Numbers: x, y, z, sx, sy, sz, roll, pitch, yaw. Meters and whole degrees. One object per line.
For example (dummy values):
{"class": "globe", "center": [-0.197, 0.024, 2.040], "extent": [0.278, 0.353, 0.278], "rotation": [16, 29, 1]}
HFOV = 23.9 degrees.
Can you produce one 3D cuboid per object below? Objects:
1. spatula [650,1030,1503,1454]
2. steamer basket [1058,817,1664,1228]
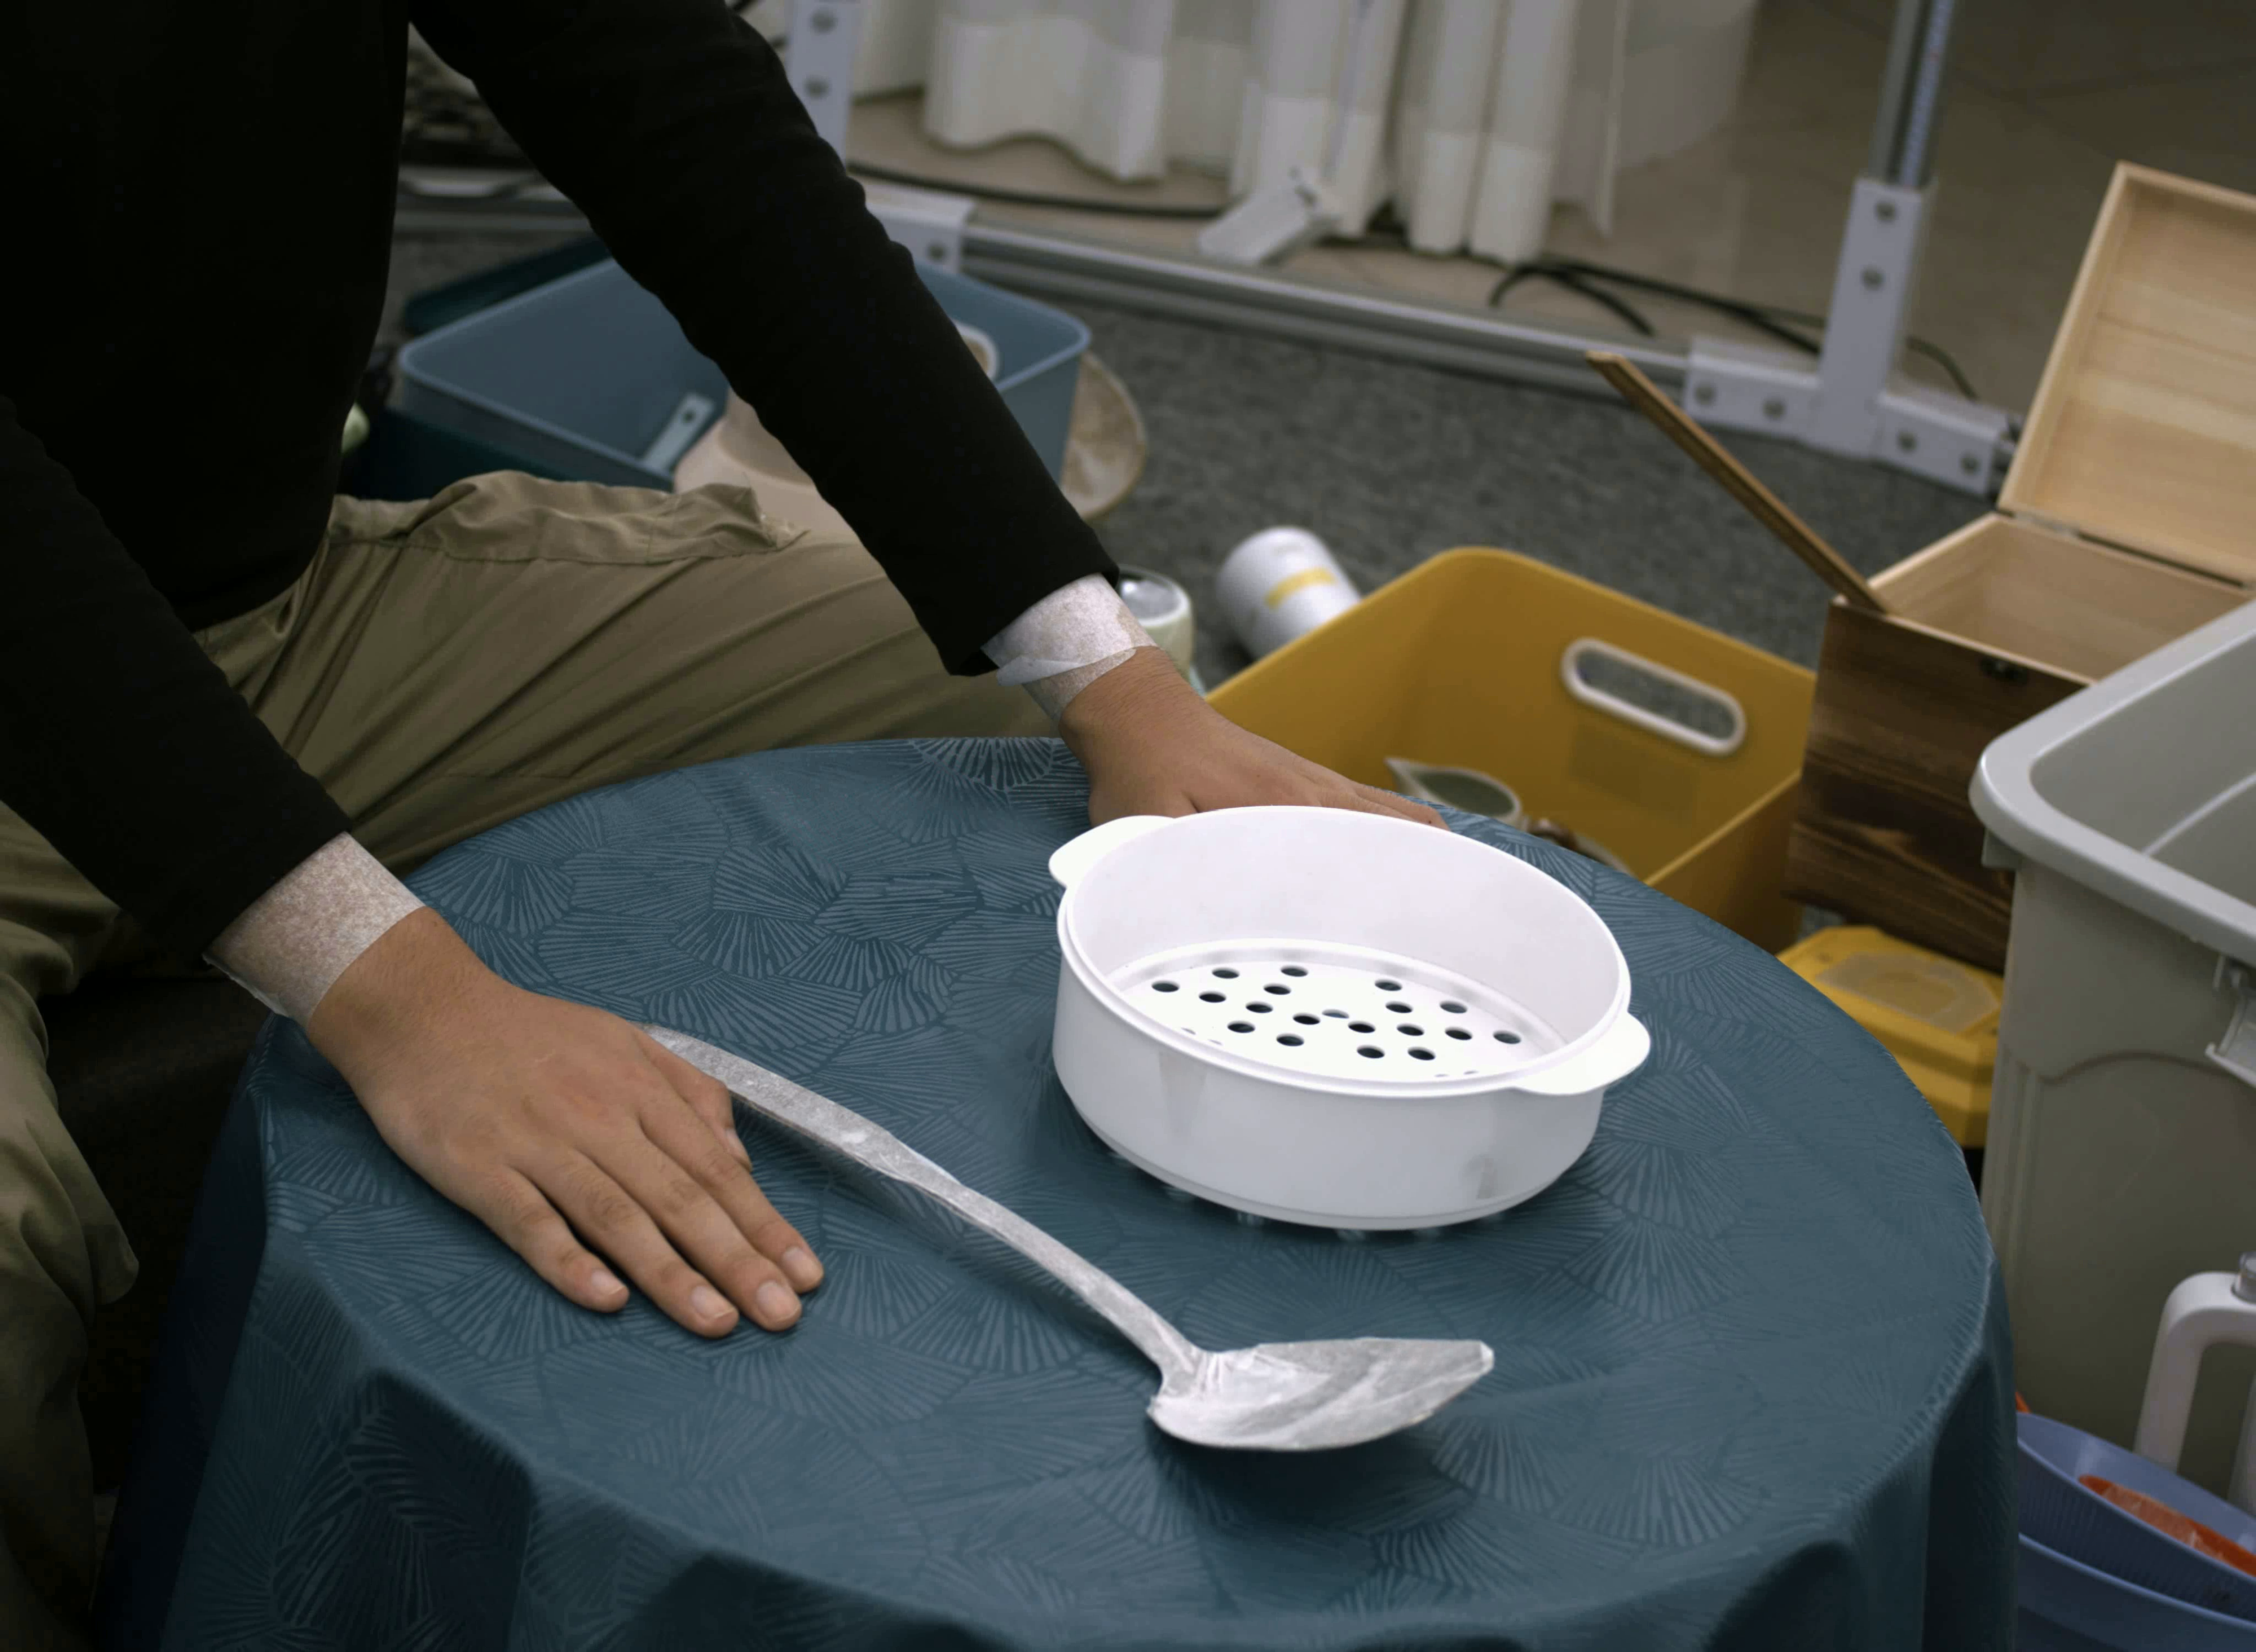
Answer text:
{"class": "spatula", "center": [-0.038, 0.127, 1.744], "extent": [0.367, 0.044, 0.098], "rotation": [28, 36, 35]}
{"class": "steamer basket", "center": [0.076, 0.069, 1.850], "extent": [0.232, 0.069, 0.201], "rotation": [23, 30, 31]}
